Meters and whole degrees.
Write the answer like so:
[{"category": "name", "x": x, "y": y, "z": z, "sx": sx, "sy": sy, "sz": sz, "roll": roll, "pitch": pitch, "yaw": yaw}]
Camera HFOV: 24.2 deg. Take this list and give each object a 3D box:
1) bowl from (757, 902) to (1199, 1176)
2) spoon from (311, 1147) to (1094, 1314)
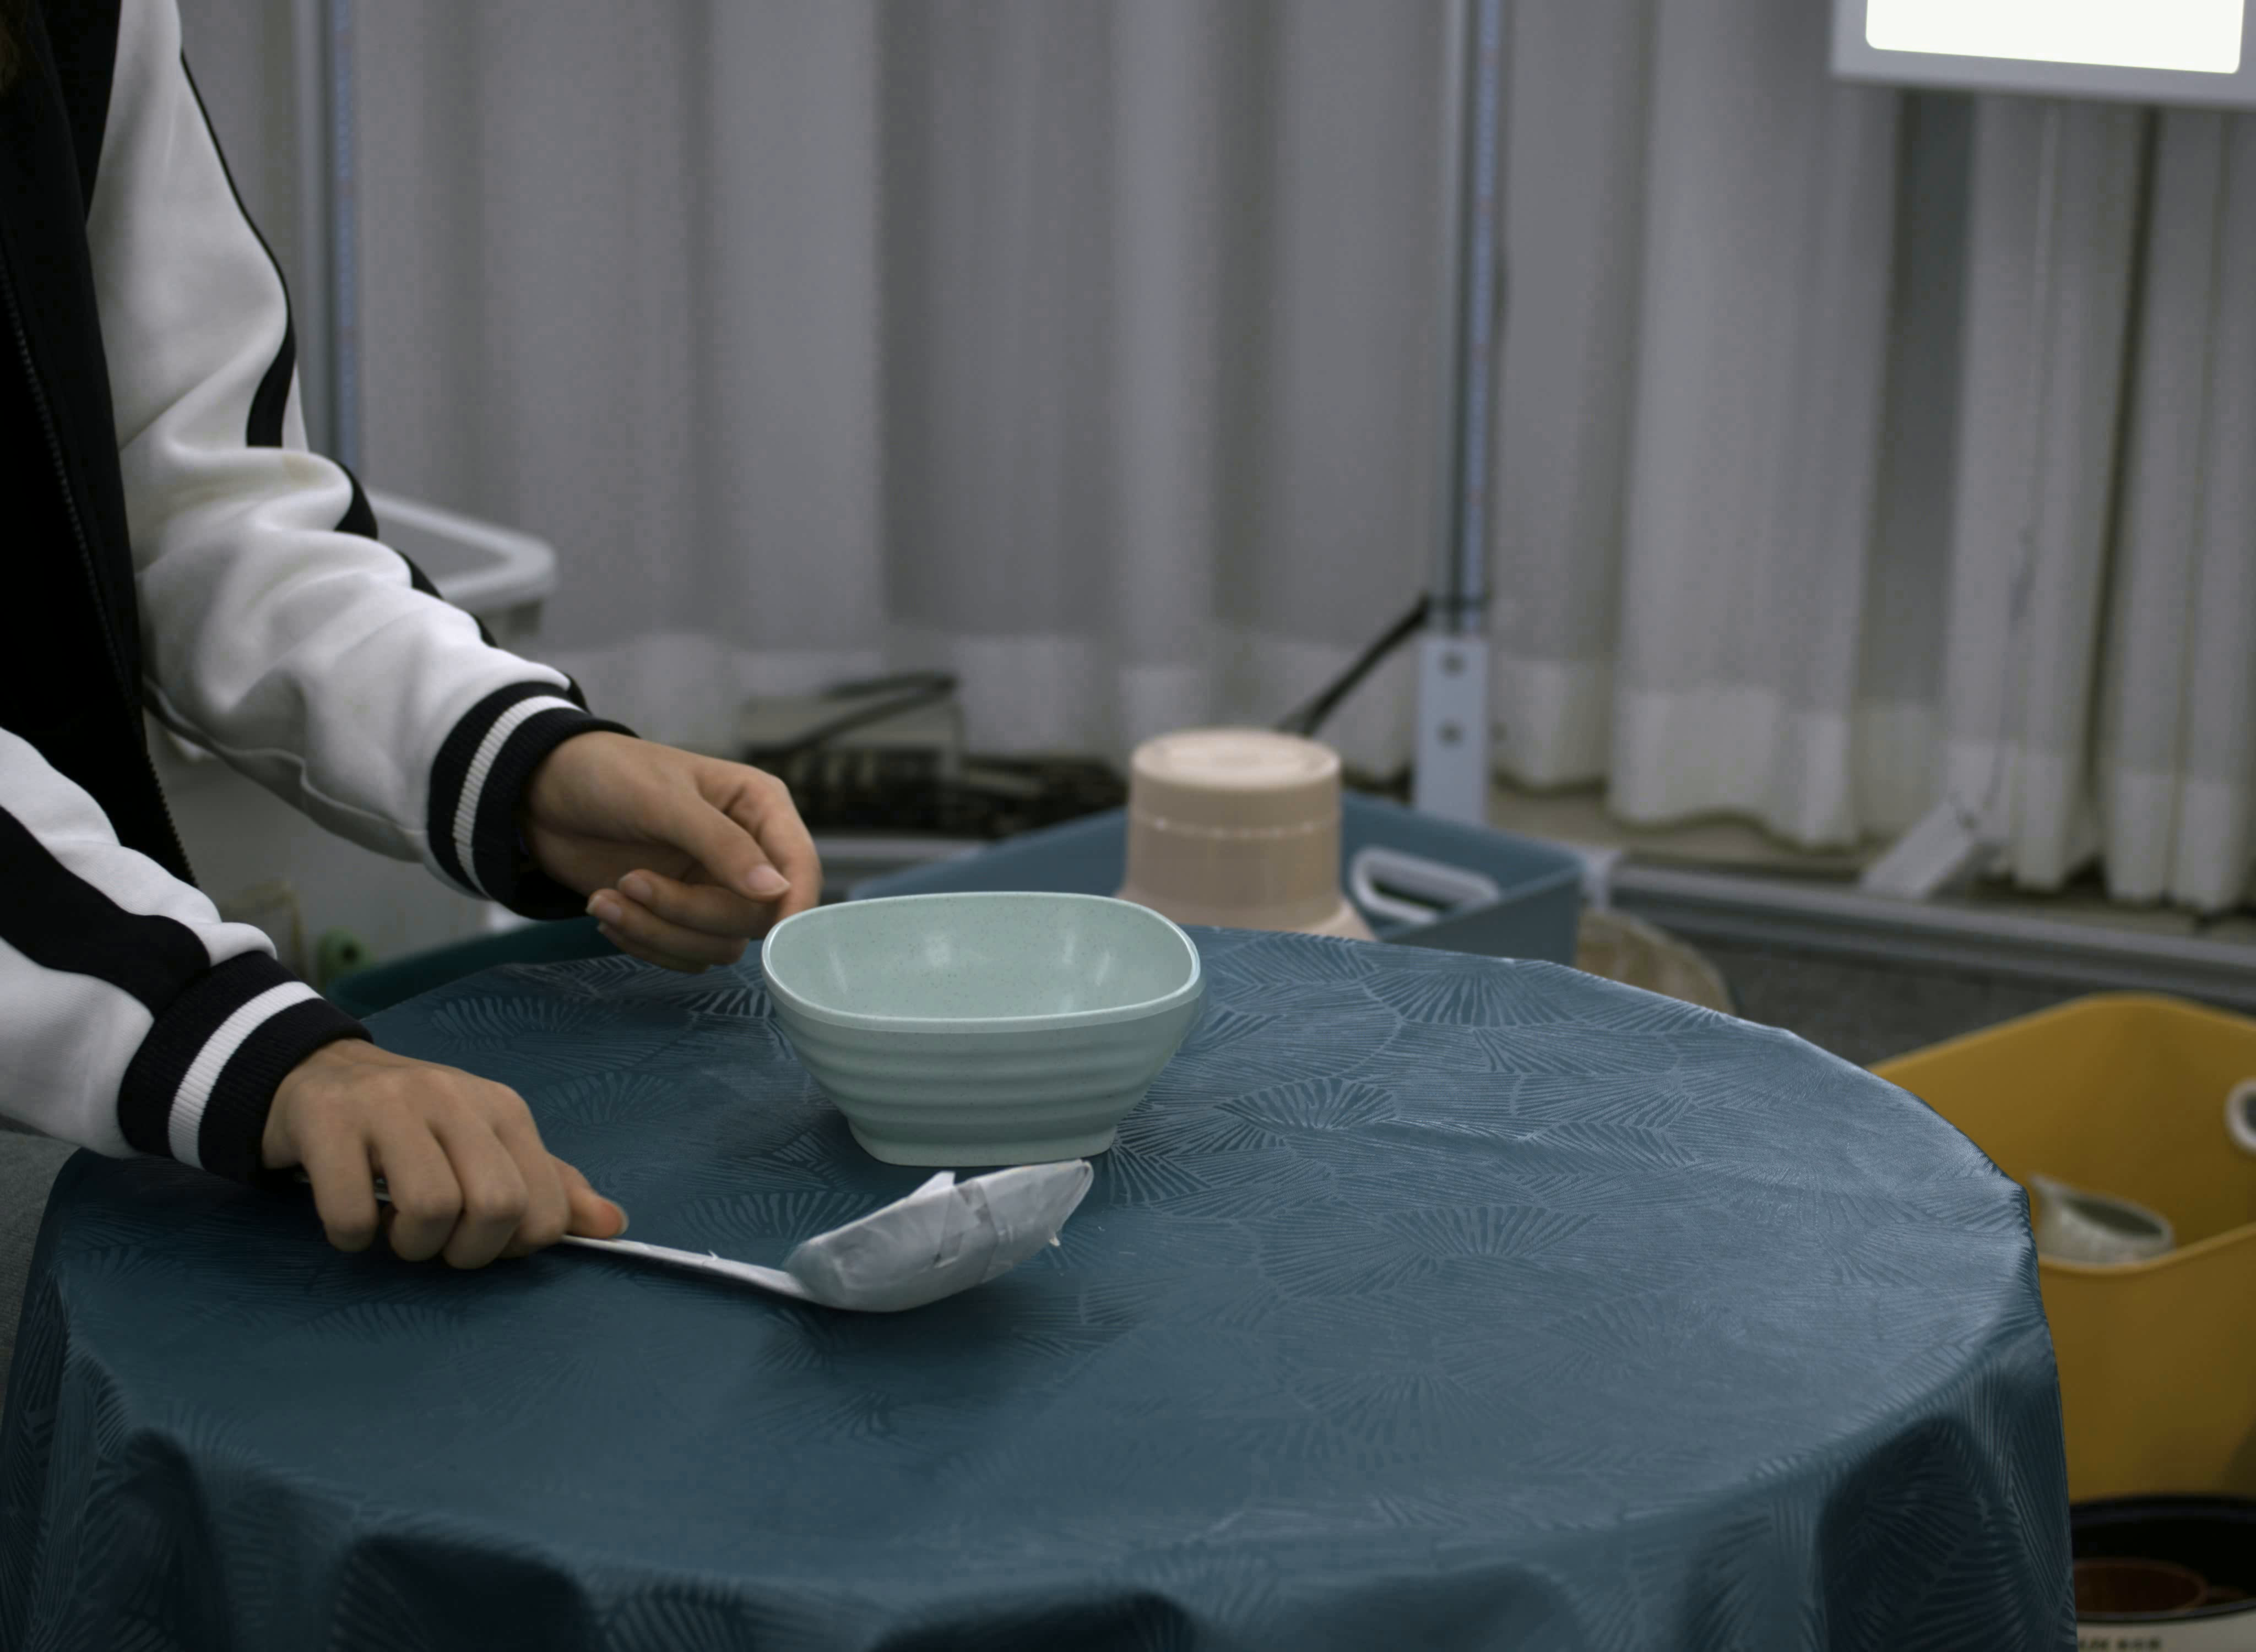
[{"category": "bowl", "x": -0.048, "y": 0.070, "z": 1.674, "sx": 0.151, "sy": 0.059, "sz": 0.150, "roll": 1, "pitch": 15, "yaw": 0}, {"category": "spoon", "x": -0.132, "y": 0.101, "z": 1.557, "sx": 0.274, "sy": 0.059, "sz": 0.101, "roll": 10, "pitch": -1, "yaw": 34}]
